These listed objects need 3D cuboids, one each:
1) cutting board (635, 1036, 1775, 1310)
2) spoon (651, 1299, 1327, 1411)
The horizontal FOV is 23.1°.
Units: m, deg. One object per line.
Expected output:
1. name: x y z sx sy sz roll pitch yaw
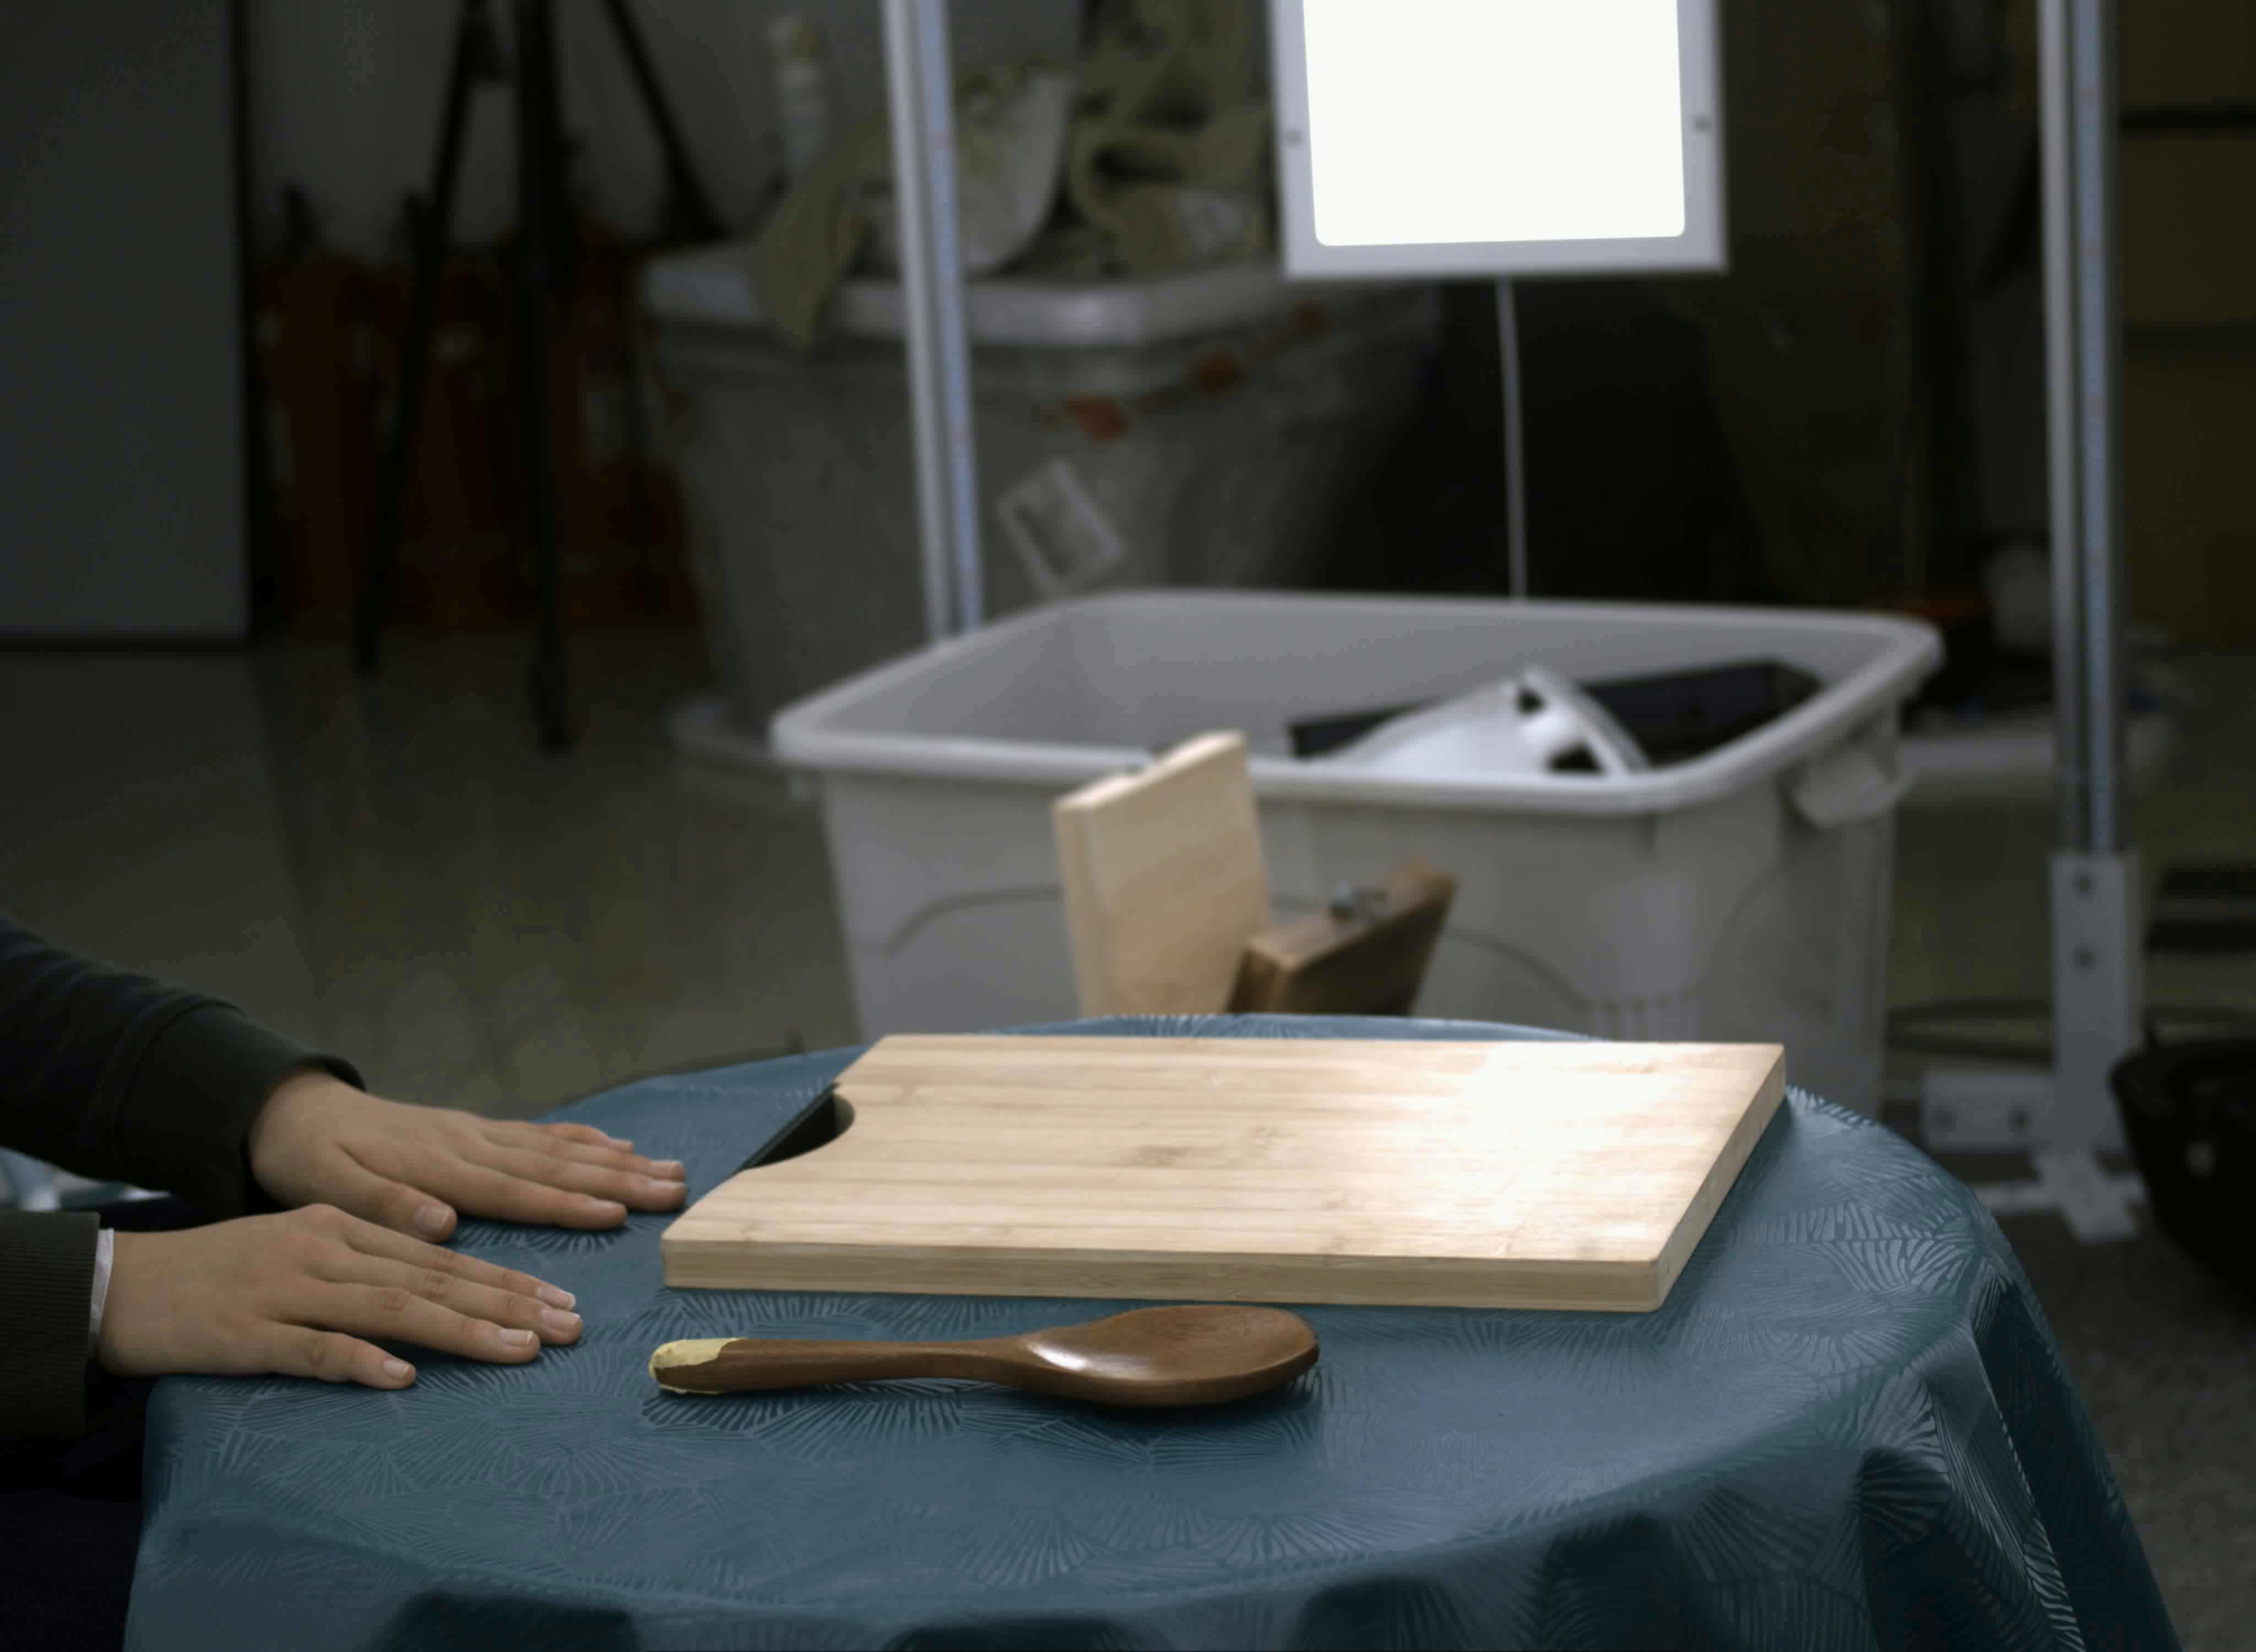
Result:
1. cutting board: 0.033 0.116 1.894 0.353 0.023 0.247 -1 14 18
2. spoon: -0.044 0.166 1.714 0.218 0.017 0.074 -1 16 14
